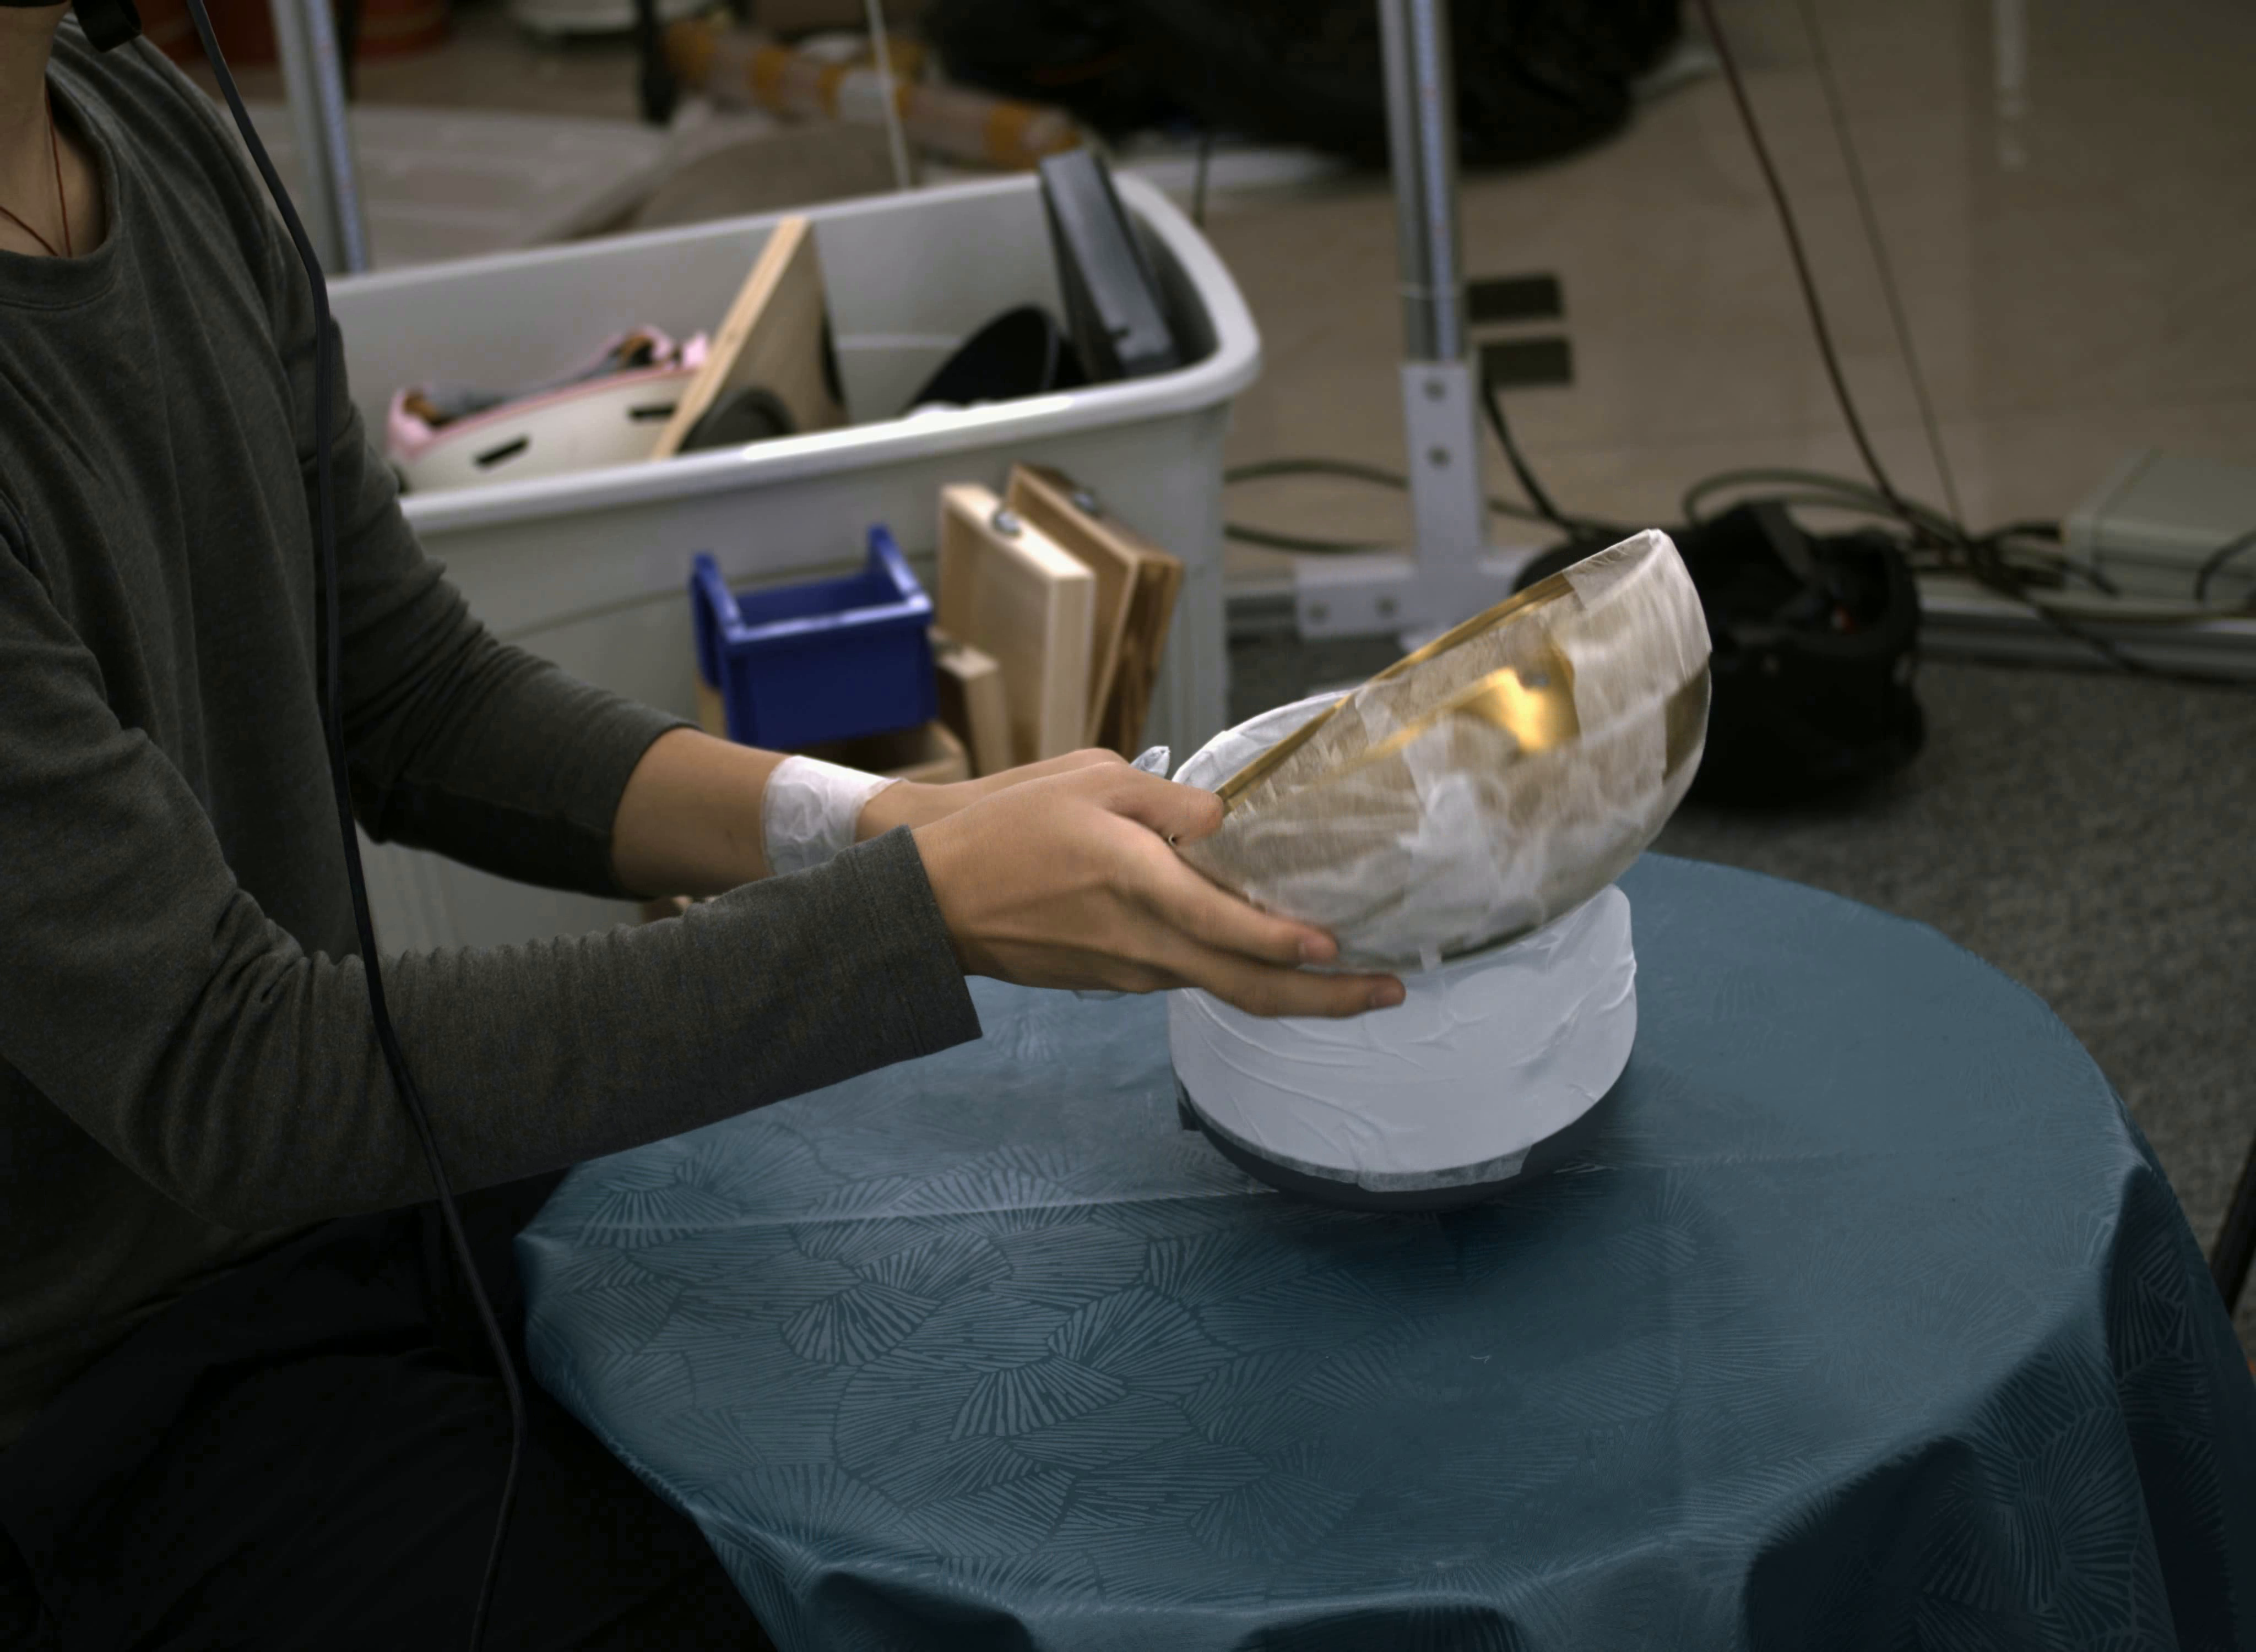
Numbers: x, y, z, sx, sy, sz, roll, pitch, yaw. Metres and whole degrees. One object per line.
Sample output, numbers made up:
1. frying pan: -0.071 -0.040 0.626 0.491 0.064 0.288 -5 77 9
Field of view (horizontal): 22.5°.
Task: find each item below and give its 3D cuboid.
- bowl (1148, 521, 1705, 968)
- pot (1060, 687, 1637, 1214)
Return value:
1. bowl: 0.117 -0.011 1.946 0.215 0.095 0.214 -33 4 3
2. pot: 0.078 0.043 2.136 0.232 0.139 0.176 14 40 24
